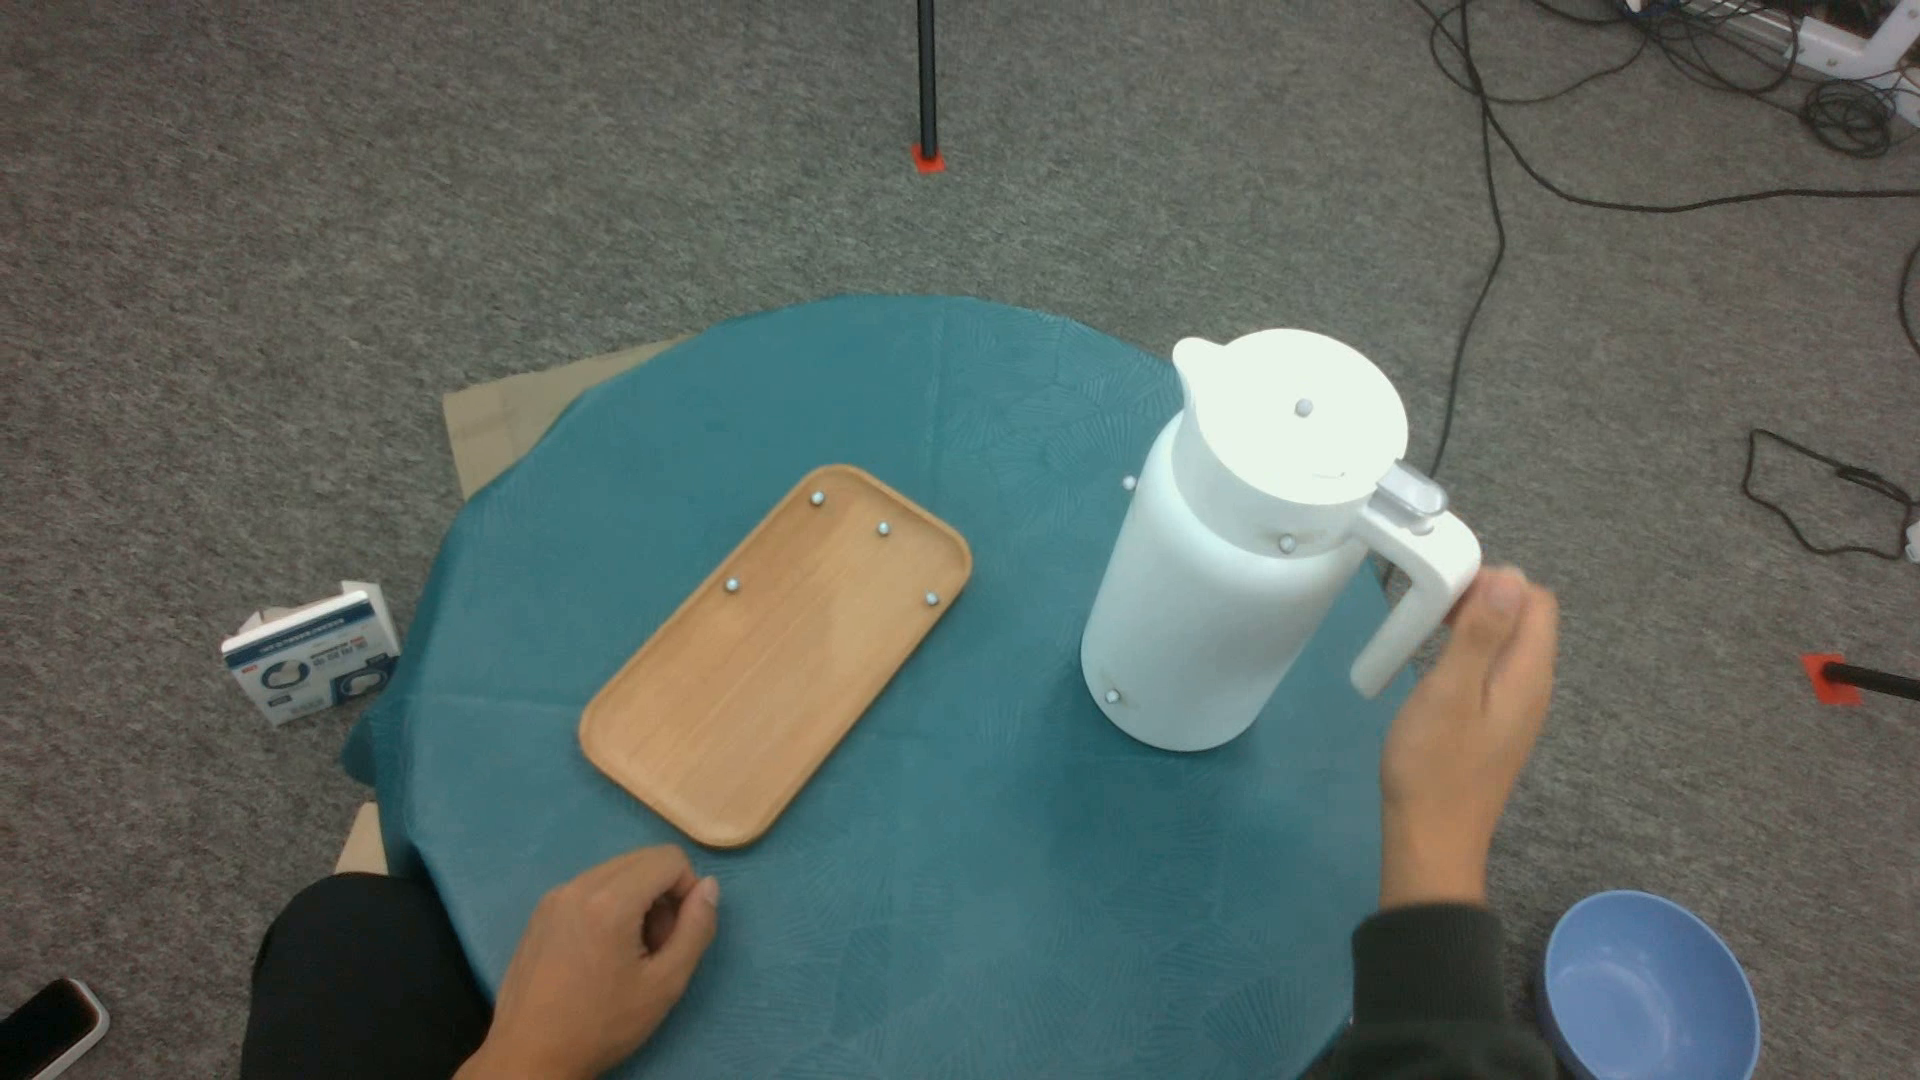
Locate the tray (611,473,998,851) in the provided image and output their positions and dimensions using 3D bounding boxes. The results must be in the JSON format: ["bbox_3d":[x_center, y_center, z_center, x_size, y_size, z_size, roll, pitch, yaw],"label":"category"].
[{"bbox_3d":[-0.089,0.067,0.838,0.130,0.023,0.252,32,61,17],"label":"tray"}]

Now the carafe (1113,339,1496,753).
[{"bbox_3d":[0.172,0.022,0.742,0.173,0.267,0.124,37,61,18],"label":"carafe"}]
